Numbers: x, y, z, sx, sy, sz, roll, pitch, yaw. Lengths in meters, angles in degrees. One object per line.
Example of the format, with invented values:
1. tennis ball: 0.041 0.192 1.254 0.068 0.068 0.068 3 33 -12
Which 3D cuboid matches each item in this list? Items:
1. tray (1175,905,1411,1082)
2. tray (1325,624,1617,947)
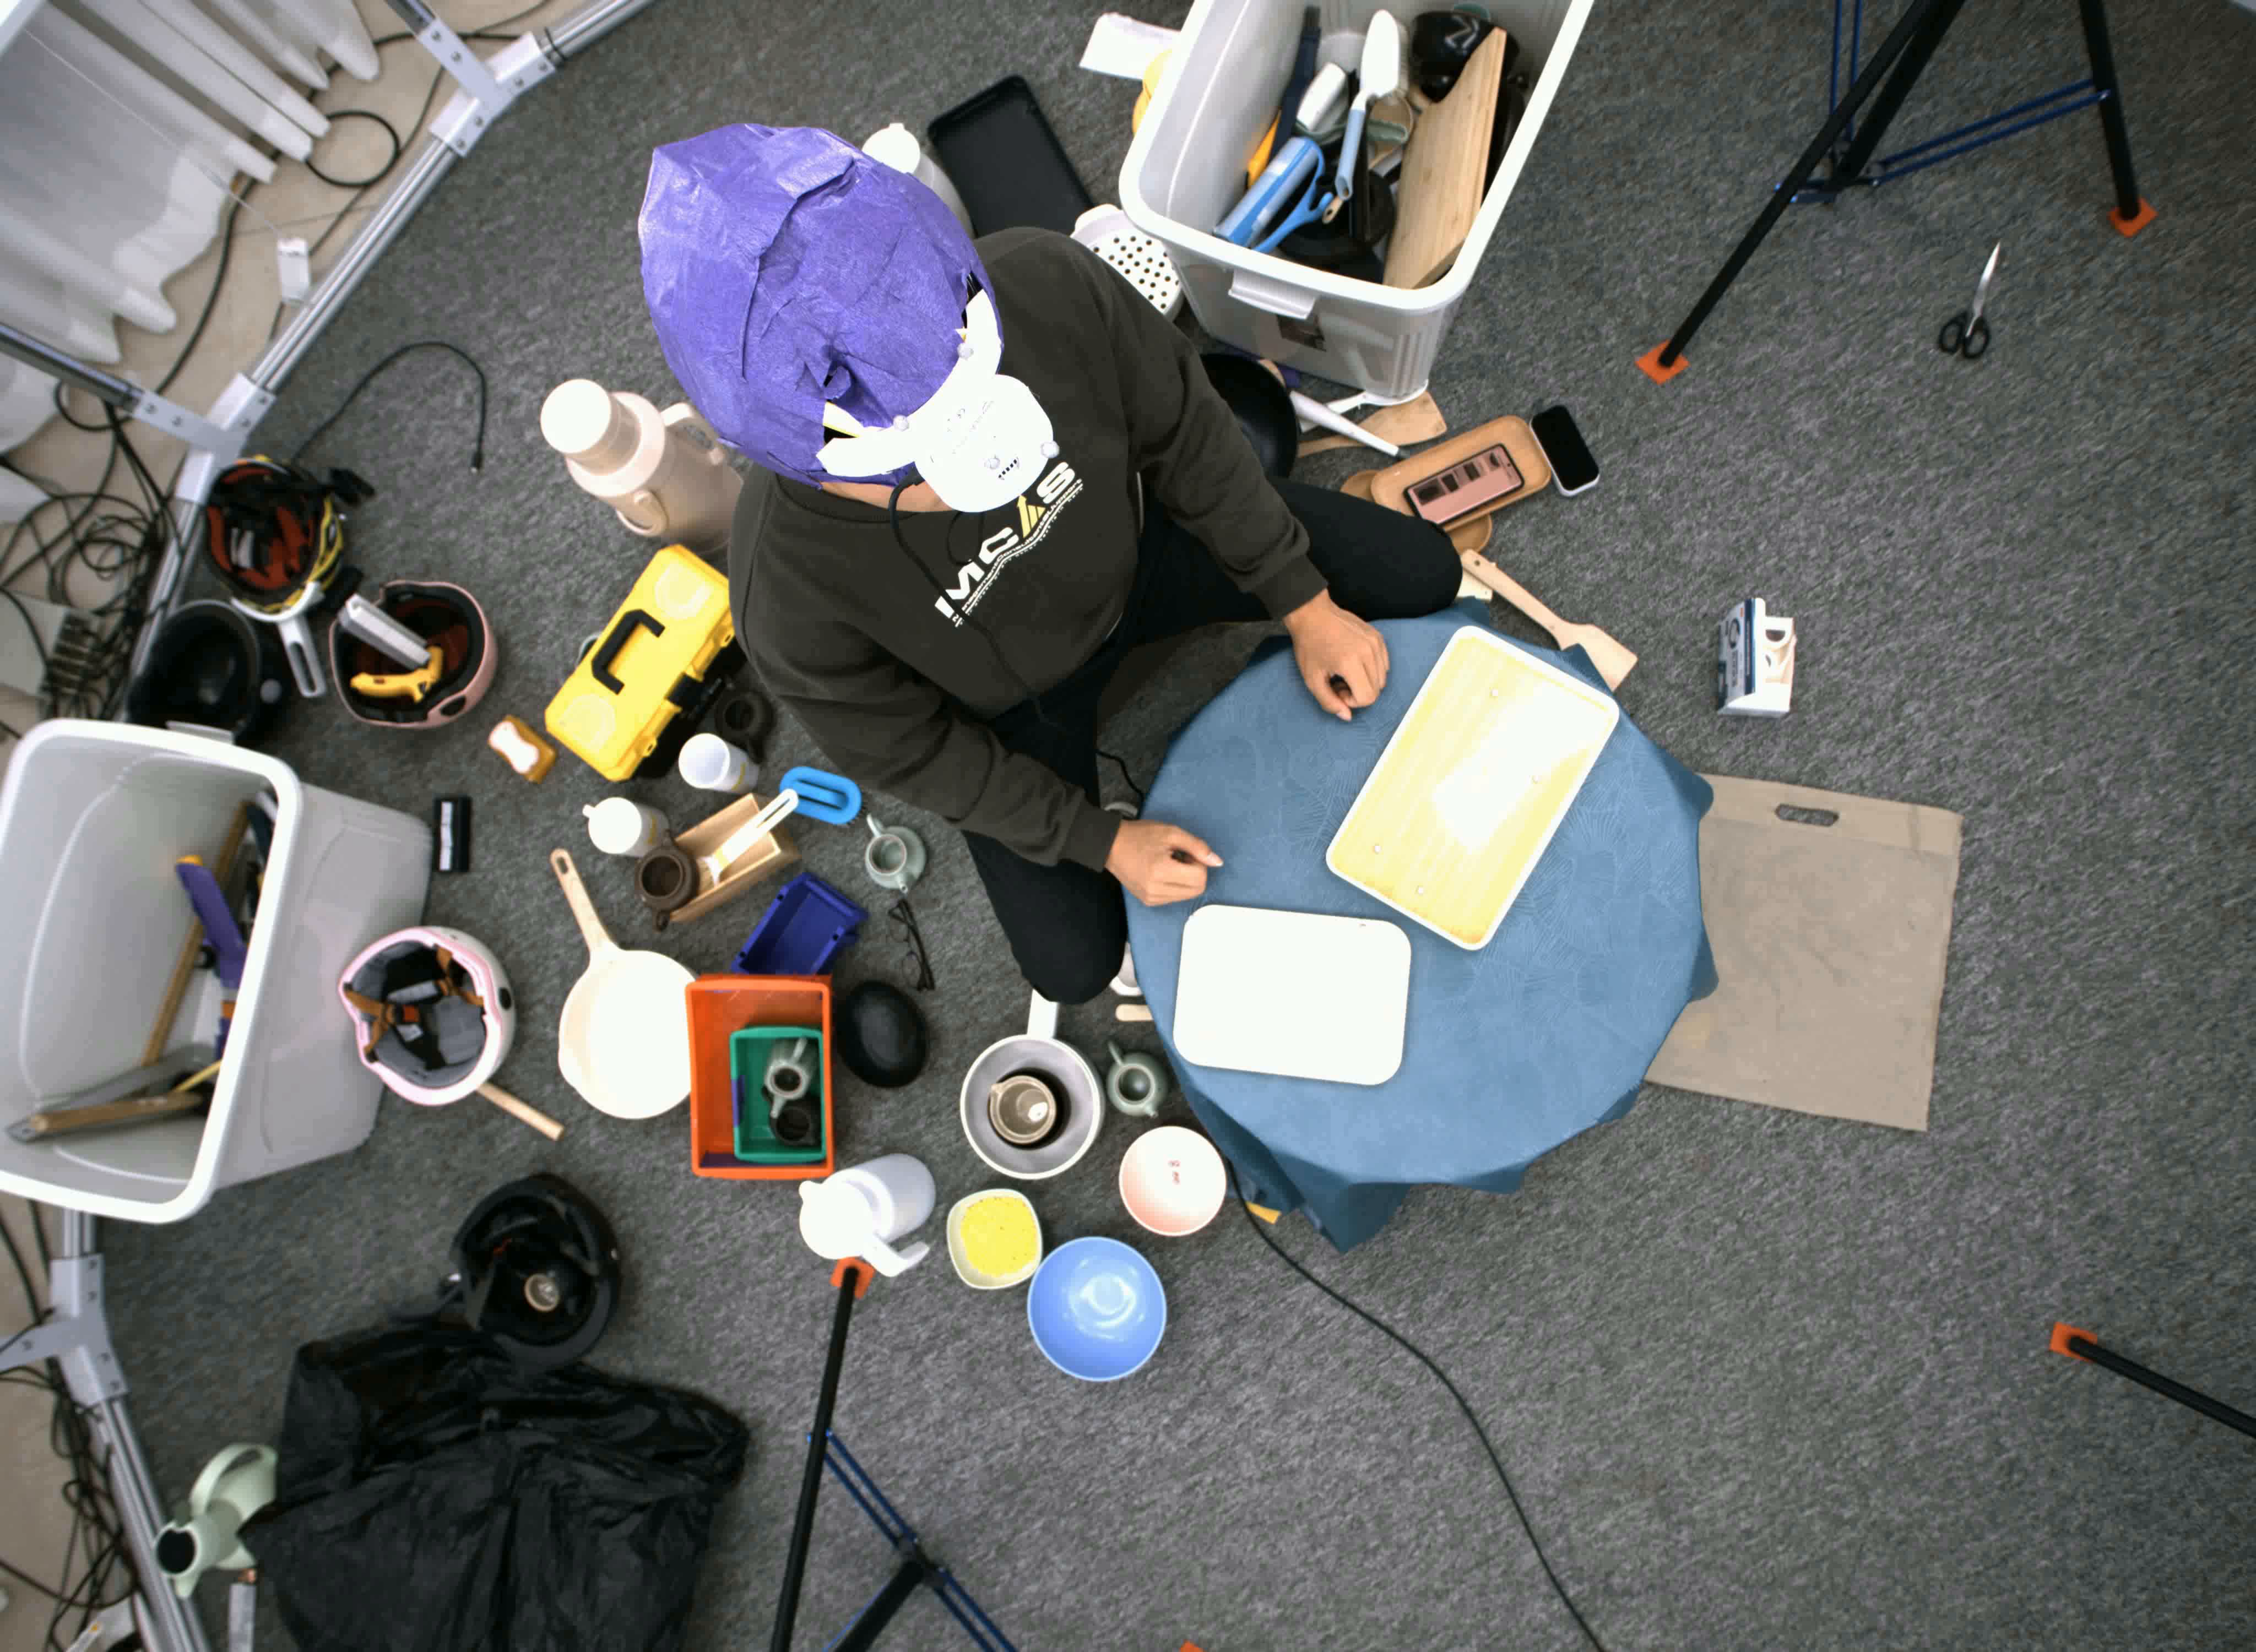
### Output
1. tray: 0.173 0.174 1.463 0.240 0.017 0.171 5 88 11
2. tray: 0.357 -0.045 1.437 0.191 0.027 0.300 31 92 11
